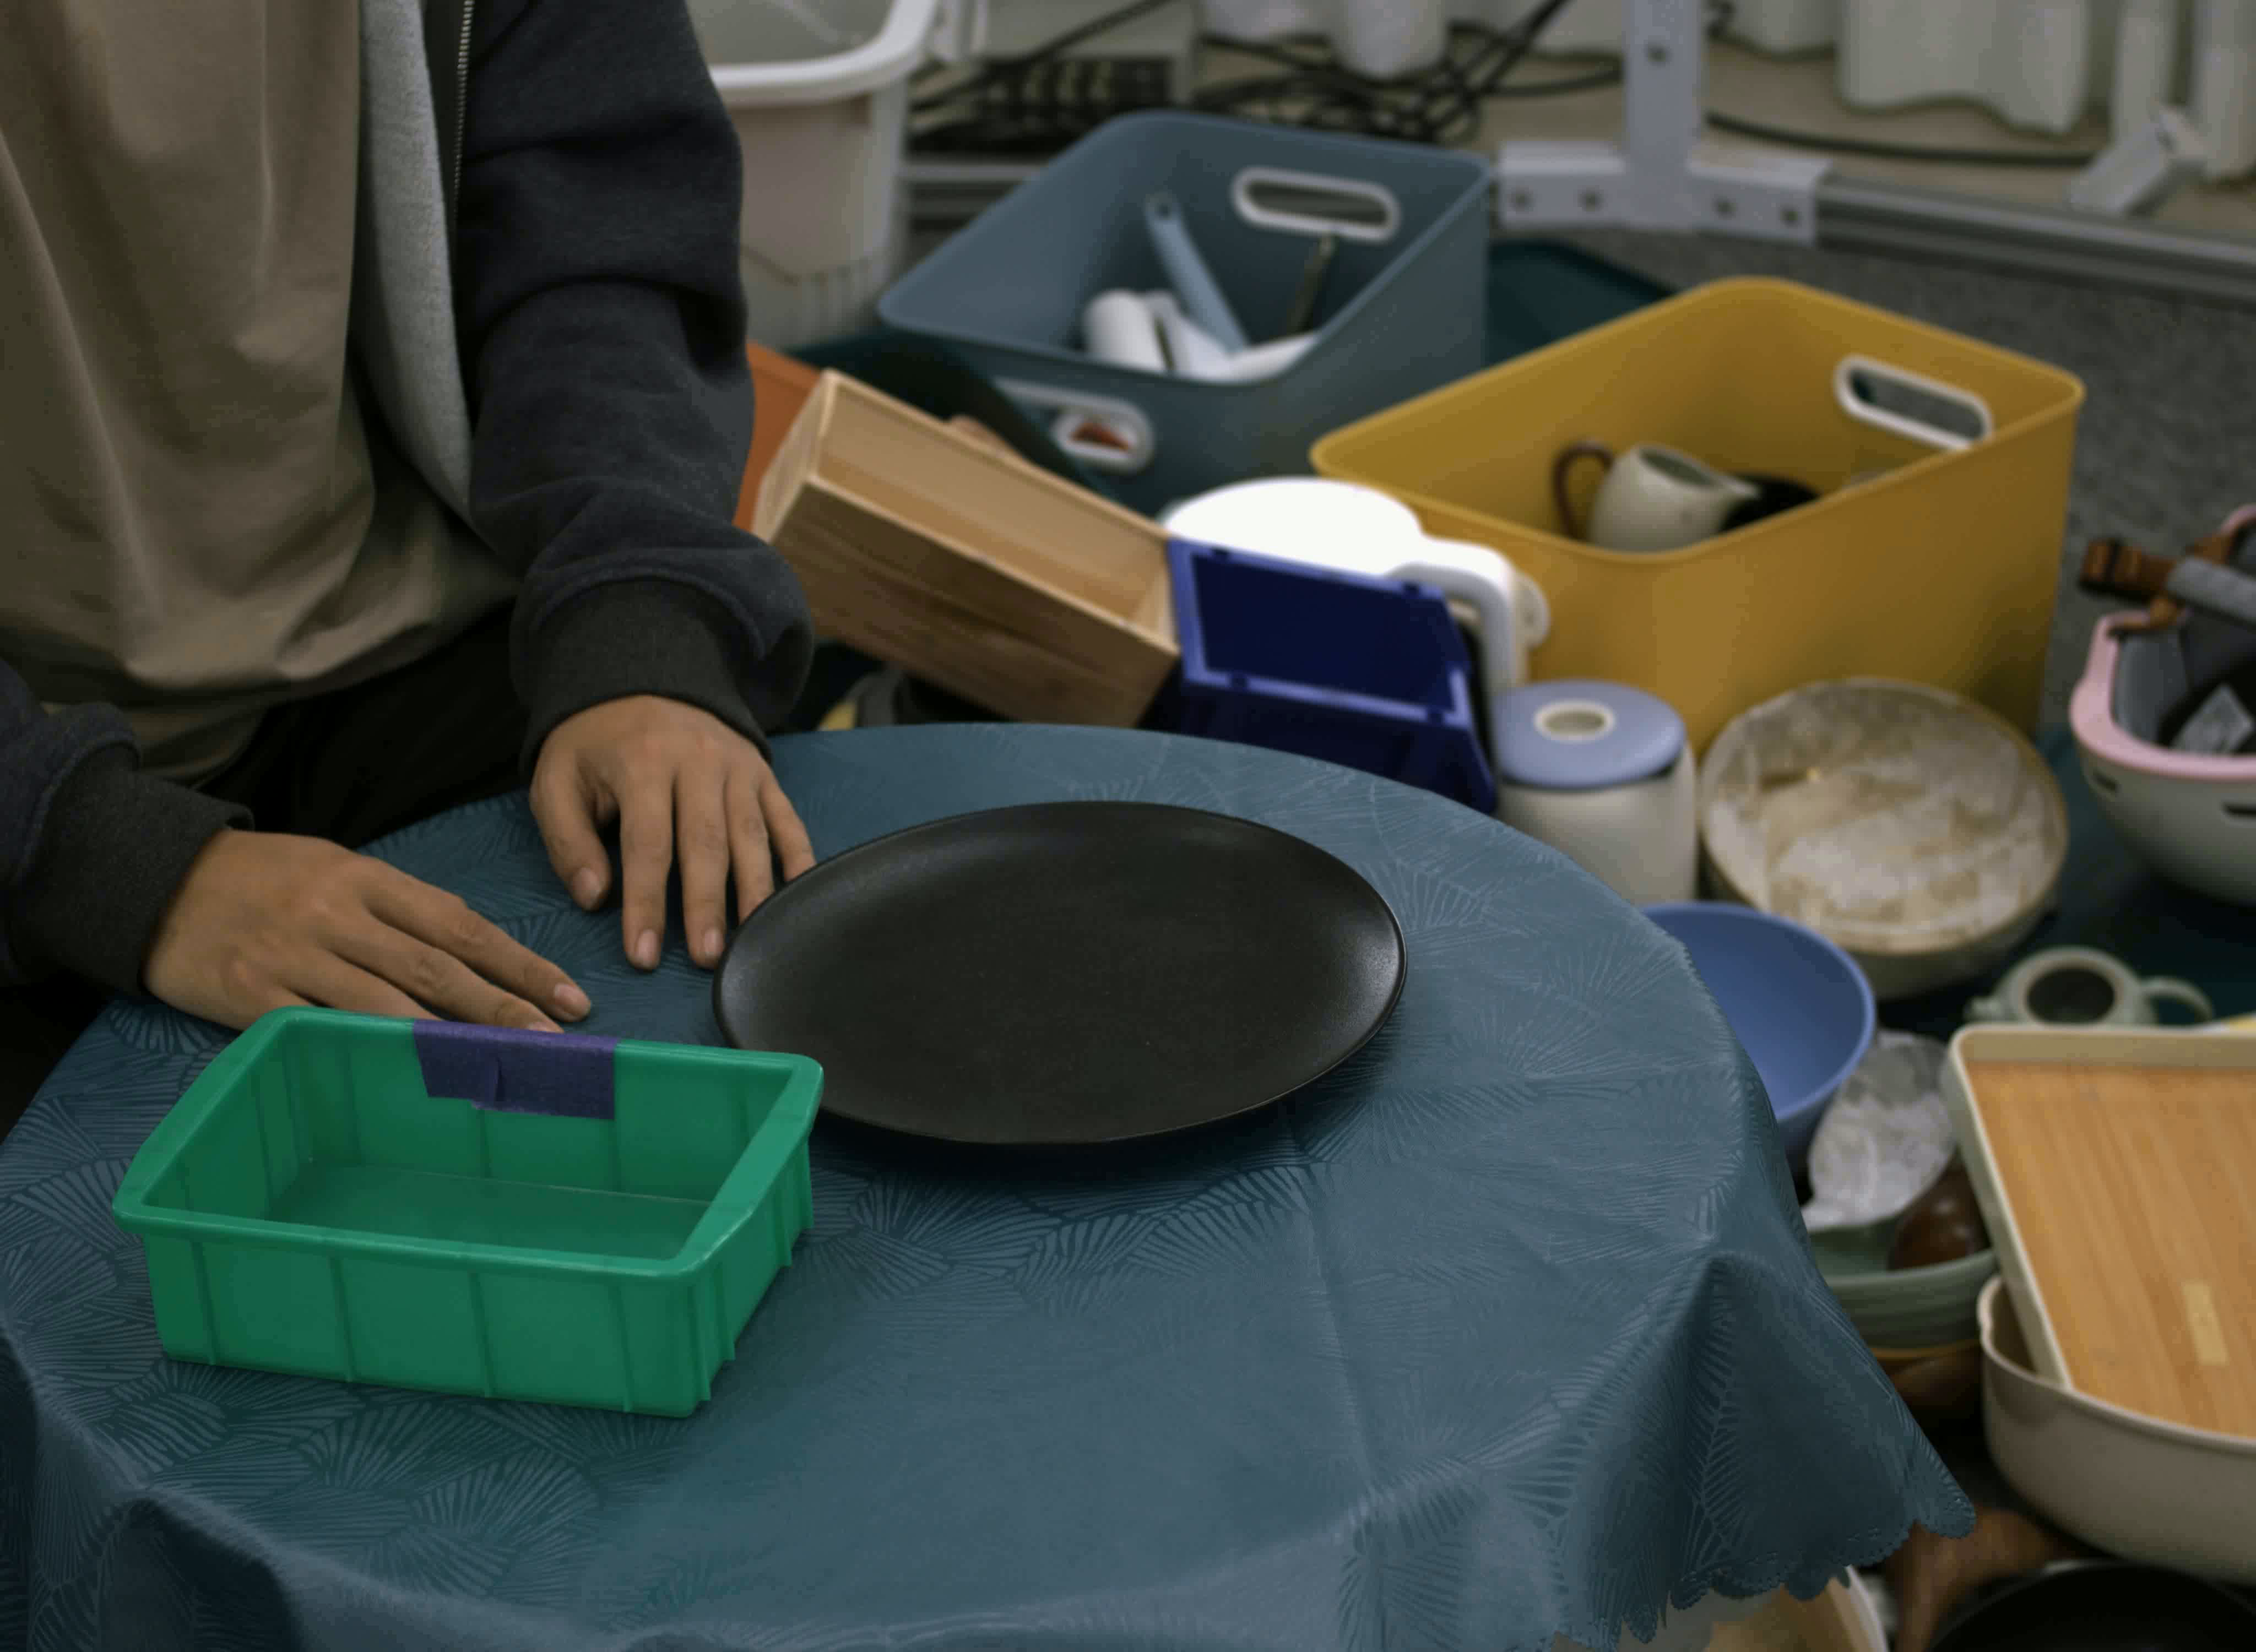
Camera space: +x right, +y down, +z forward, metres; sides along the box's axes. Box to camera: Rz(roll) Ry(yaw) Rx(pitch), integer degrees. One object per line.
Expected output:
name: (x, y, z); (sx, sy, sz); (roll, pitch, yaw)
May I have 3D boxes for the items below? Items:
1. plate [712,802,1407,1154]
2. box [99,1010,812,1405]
plate: (-0.024, 0.057, 1.964); (0.243, 0.023, 0.248); (-2, 28, 2)
box: (-0.212, 0.124, 1.810); (0.209, 0.065, 0.141); (2, 26, 15)
